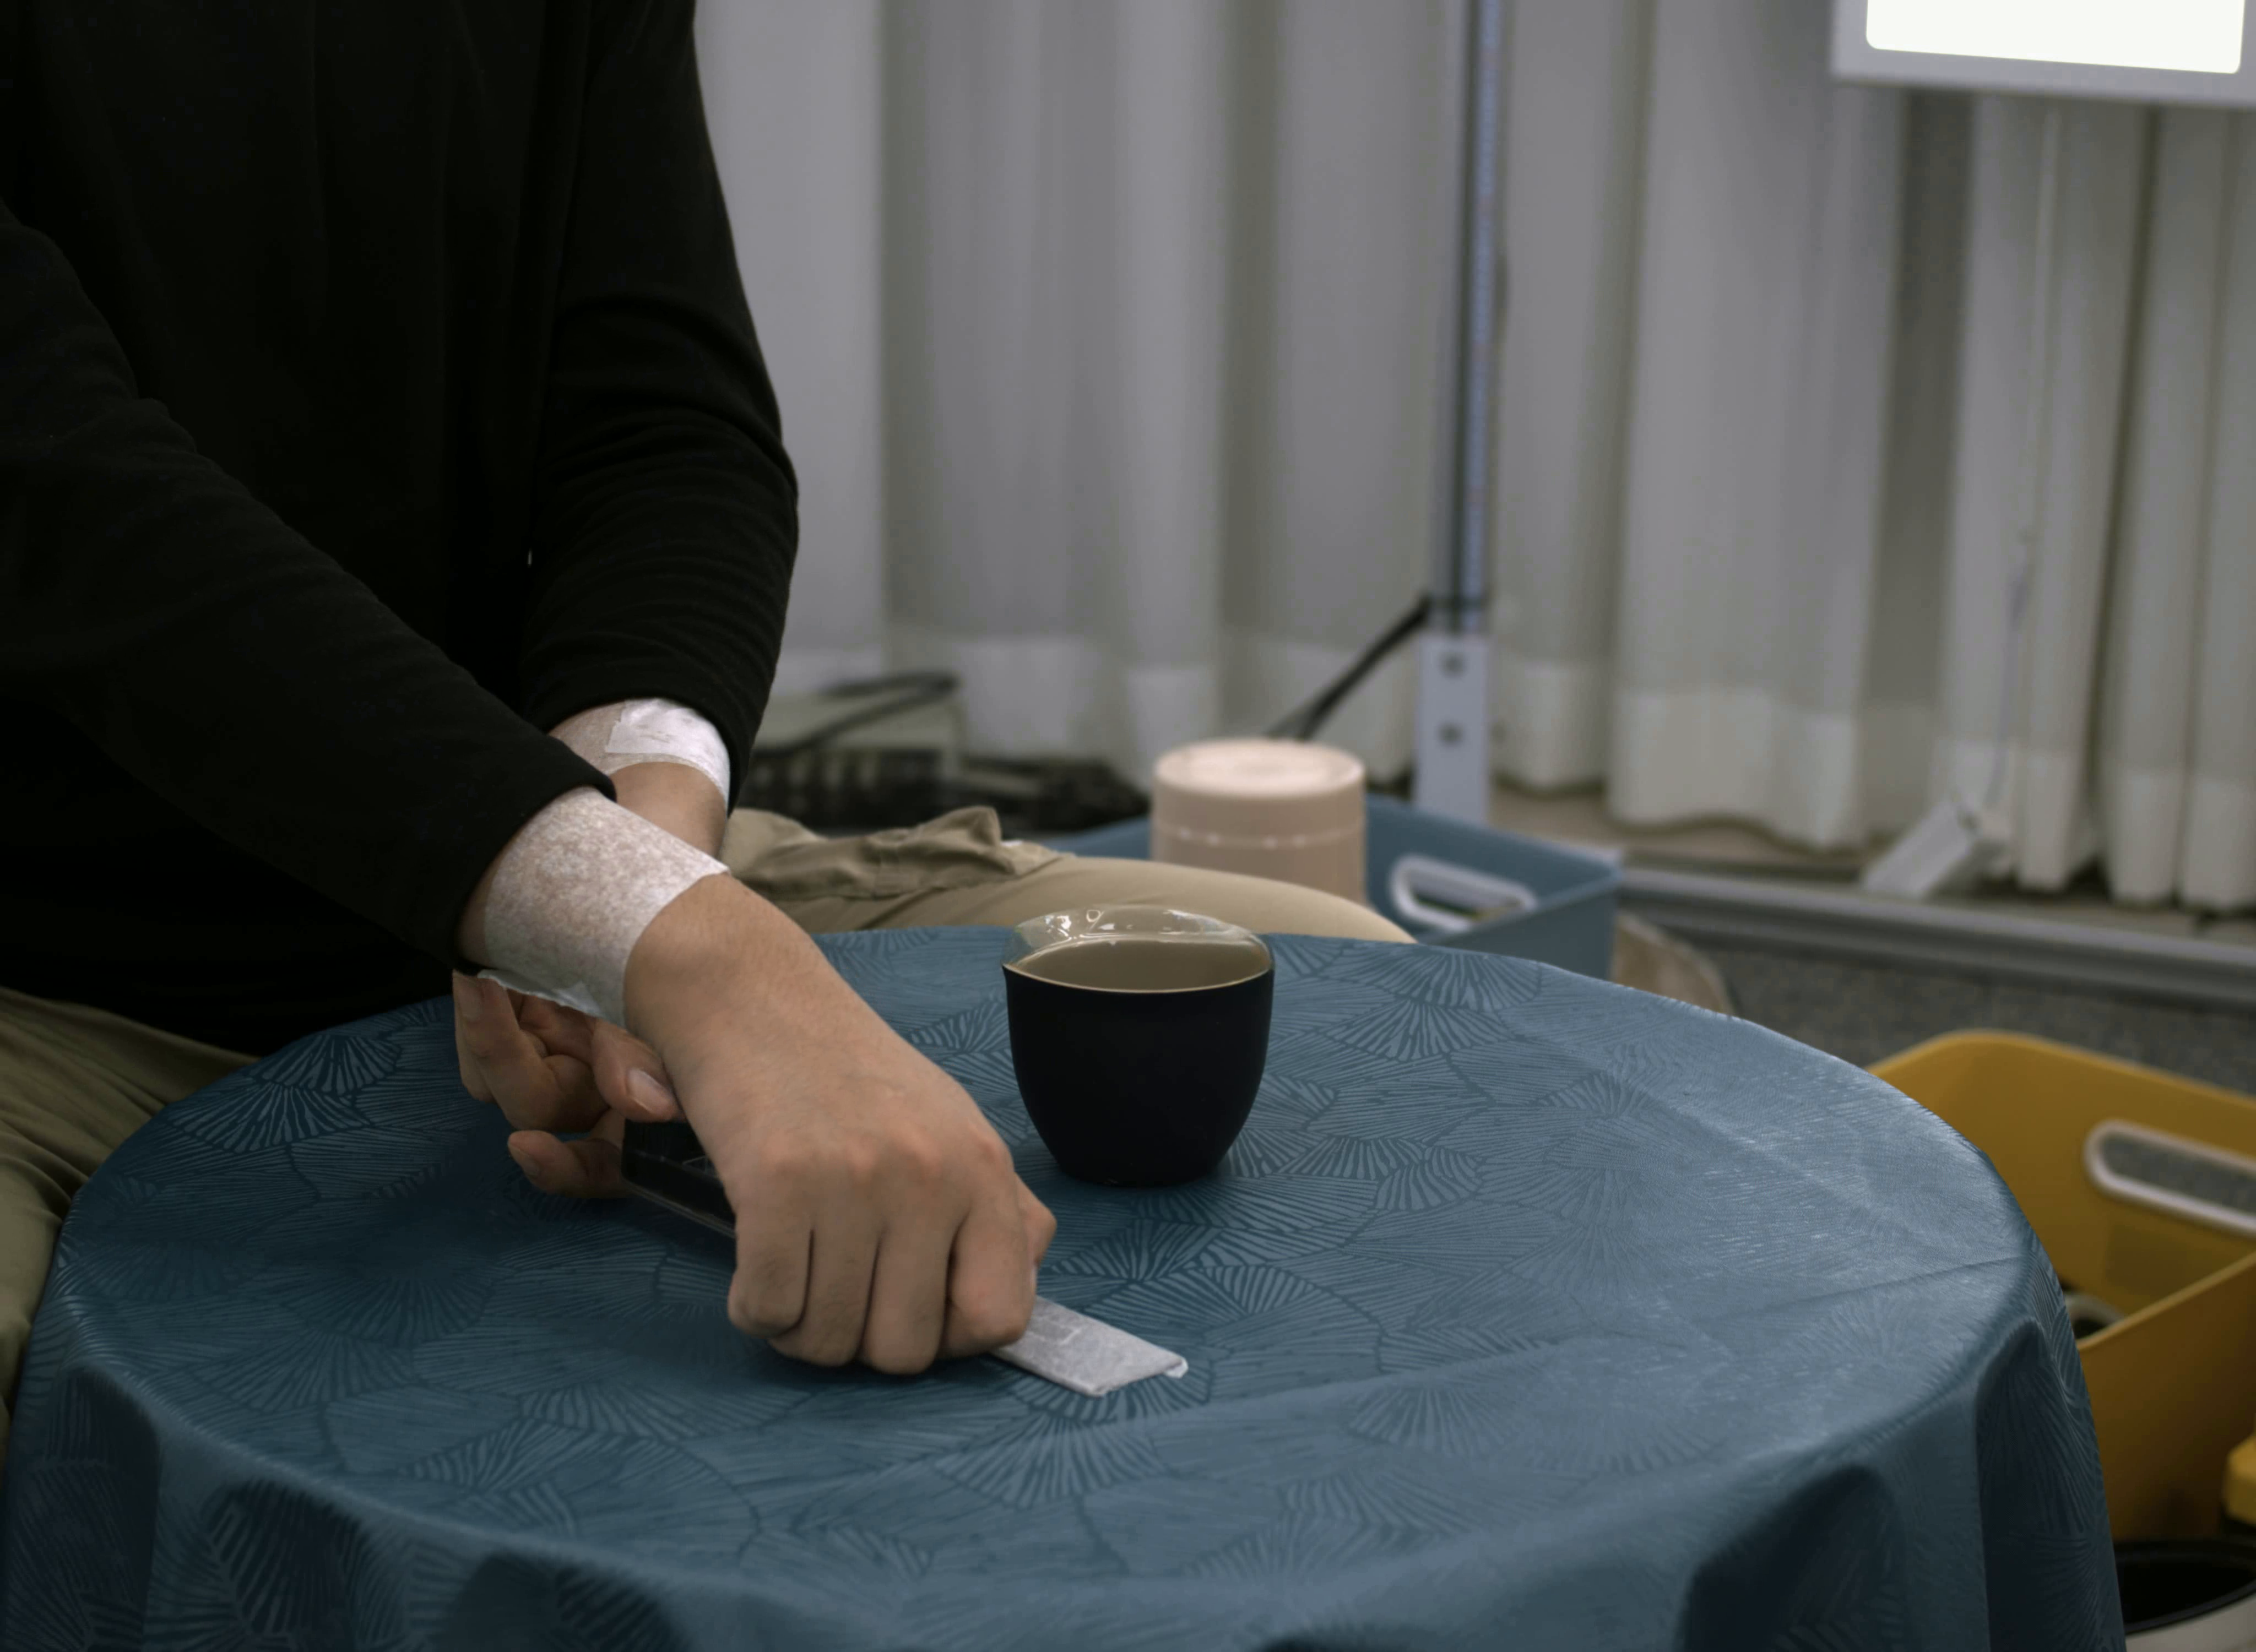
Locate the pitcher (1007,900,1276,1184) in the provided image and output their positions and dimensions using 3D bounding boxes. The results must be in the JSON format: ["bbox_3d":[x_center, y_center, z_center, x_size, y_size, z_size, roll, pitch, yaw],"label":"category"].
[{"bbox_3d":[0.002,0.069,1.641,0.084,0.072,0.095,-9,19,-28],"label":"pitcher"}]

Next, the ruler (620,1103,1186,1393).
[{"bbox_3d":[-0.072,0.120,1.532,0.215,0.024,0.038,17,27,42],"label":"ruler"}]
